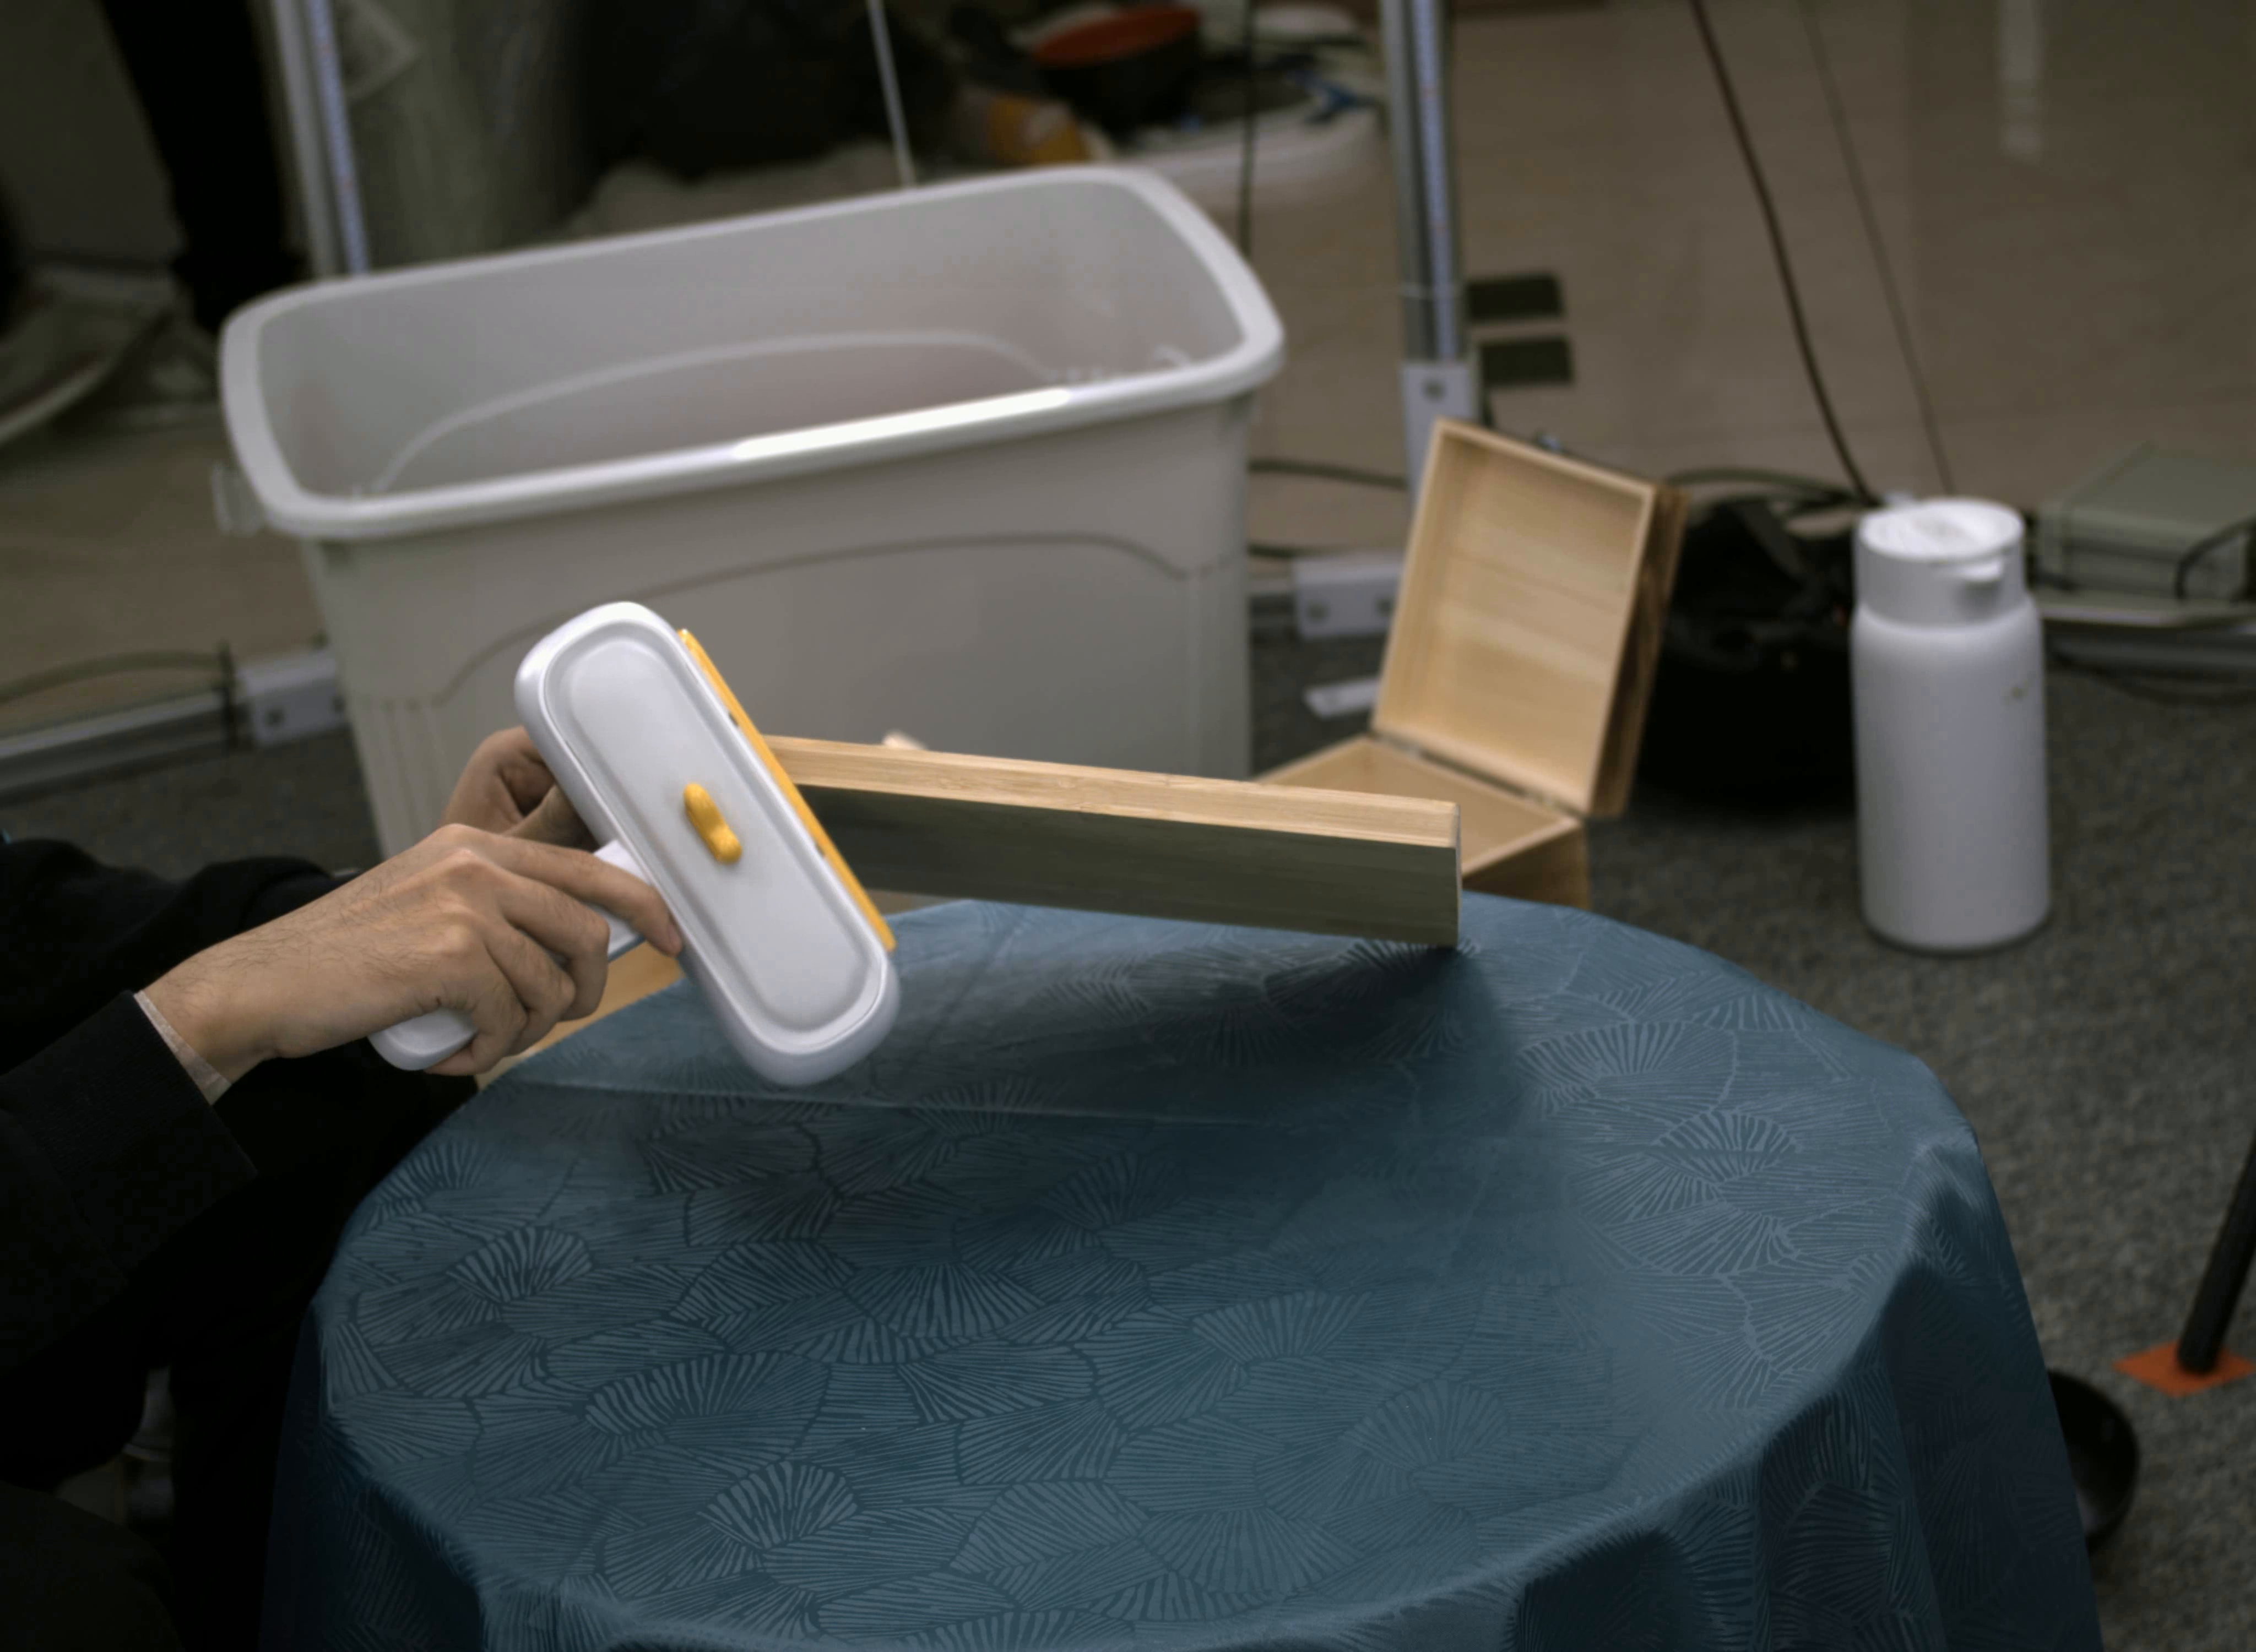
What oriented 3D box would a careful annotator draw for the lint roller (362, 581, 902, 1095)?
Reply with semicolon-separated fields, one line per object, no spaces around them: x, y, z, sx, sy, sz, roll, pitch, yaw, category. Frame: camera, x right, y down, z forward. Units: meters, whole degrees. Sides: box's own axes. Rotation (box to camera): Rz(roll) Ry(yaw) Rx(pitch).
-0.198;0.030;2.038;0.191;0.193;0.074;-38;4;-18;lint roller

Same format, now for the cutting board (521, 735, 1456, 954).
-0.046;0.005;2.202;0.348;0.023;0.252;6;-10;4;cutting board
